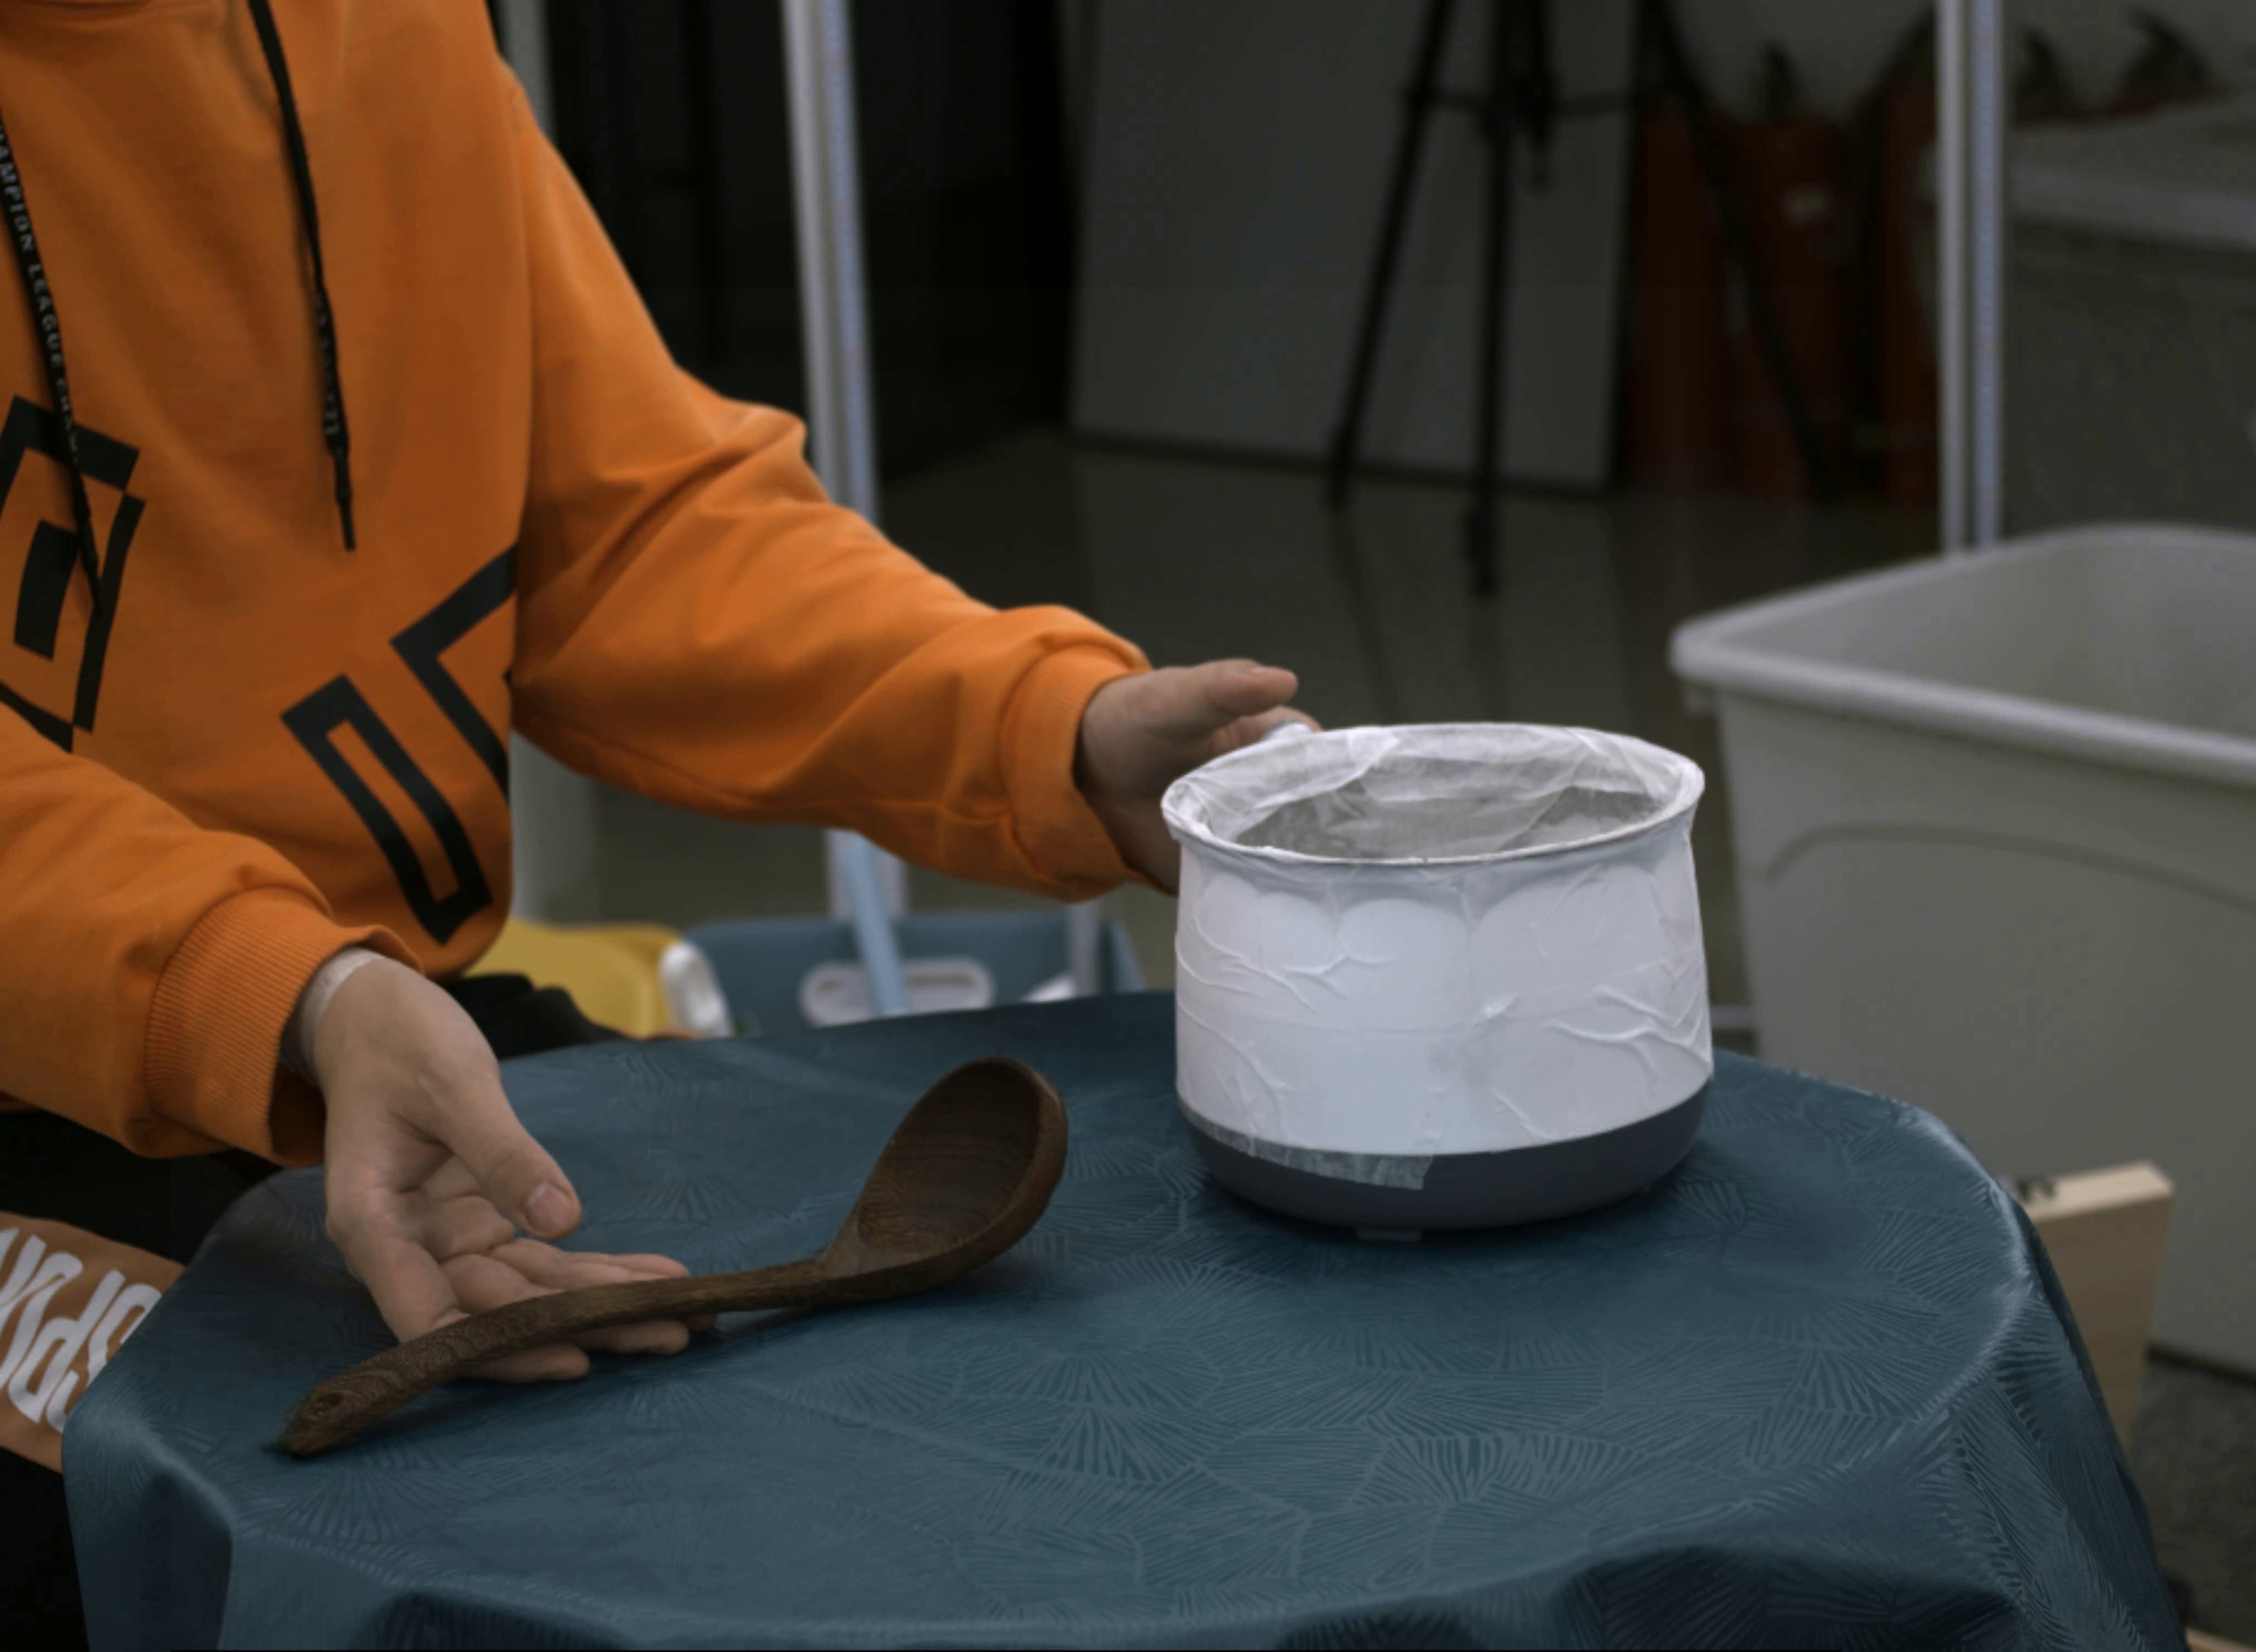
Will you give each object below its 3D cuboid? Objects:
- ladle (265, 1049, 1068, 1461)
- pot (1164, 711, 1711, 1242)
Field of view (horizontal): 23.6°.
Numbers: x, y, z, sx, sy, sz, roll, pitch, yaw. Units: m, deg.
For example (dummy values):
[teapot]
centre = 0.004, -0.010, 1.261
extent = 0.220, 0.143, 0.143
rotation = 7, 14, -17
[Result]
[ladle]
centre = -0.138, 0.127, 1.642
extent = 0.268, 0.072, 0.077
rotation = -12, 14, -31
[pot]
centre = 0.088, 0.042, 1.773
extent = 0.175, 0.138, 0.236
rotation = -10, 15, -25
